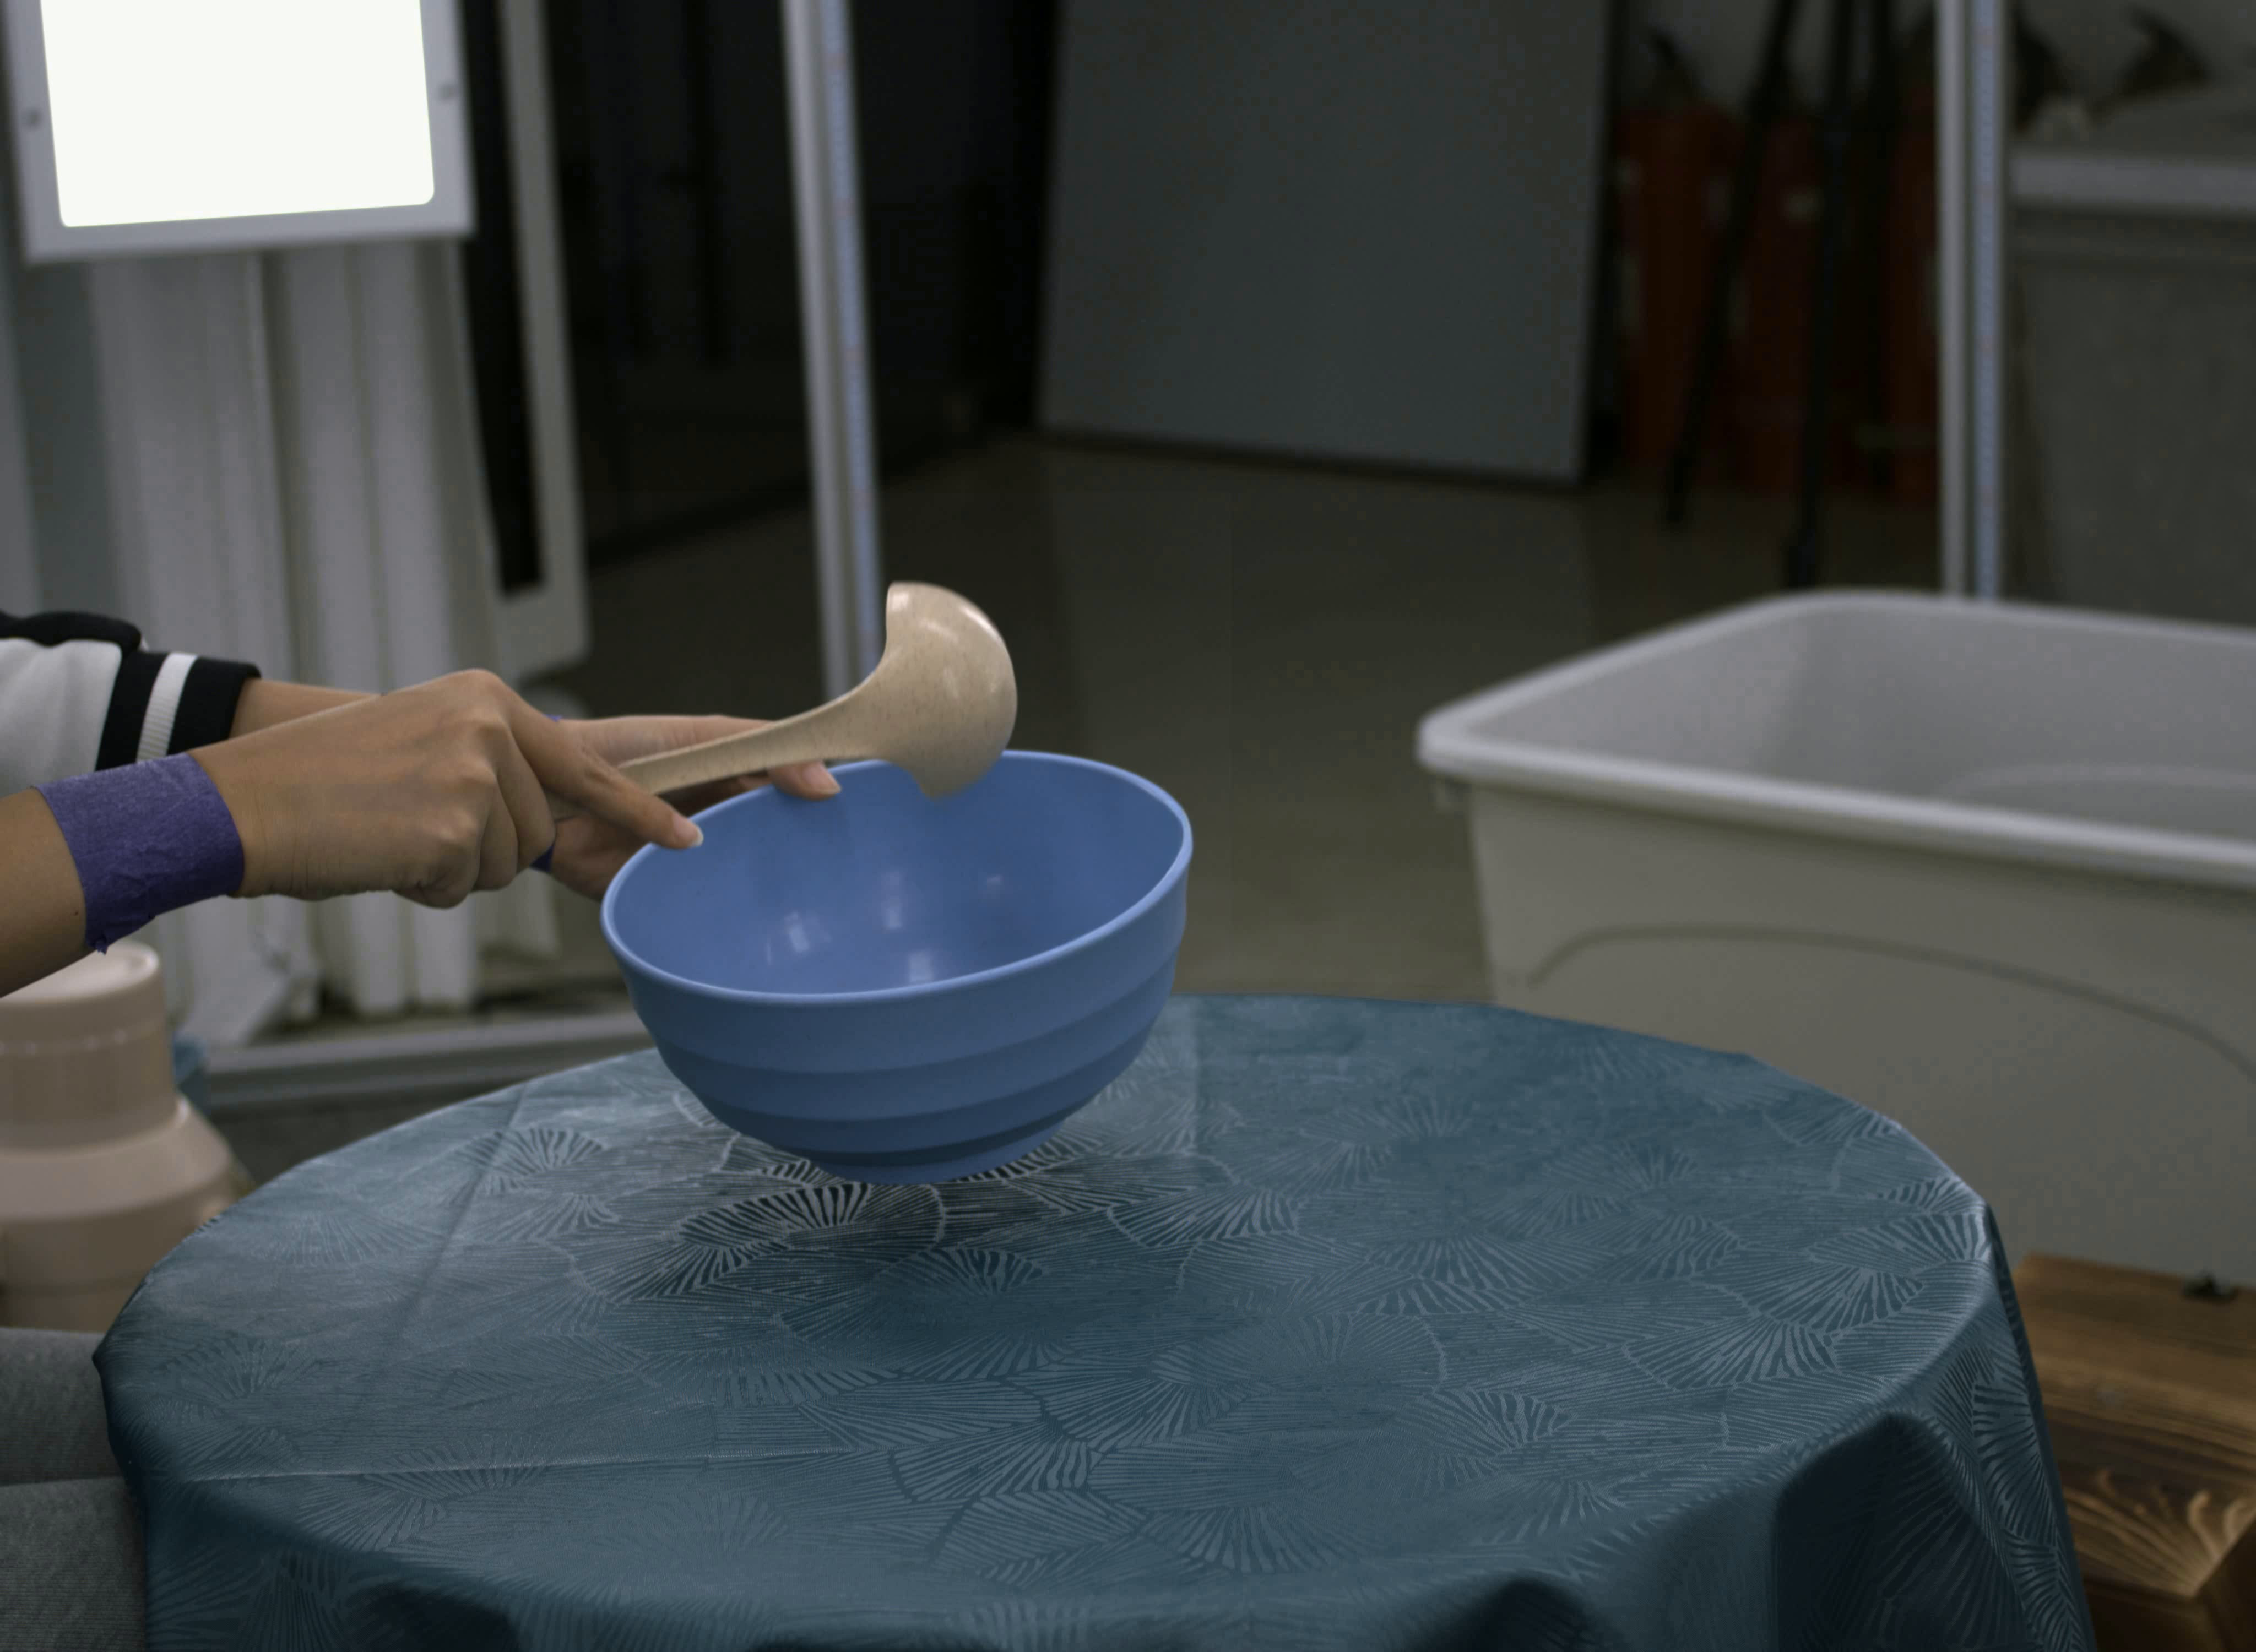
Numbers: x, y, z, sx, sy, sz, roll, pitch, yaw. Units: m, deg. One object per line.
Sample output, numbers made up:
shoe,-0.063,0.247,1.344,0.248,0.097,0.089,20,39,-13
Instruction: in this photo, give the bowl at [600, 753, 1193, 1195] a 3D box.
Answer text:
bowl,-0.070,0.058,1.773,0.194,0.096,0.197,-7,23,2

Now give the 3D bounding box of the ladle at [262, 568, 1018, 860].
ladle,-0.157,-0.026,1.714,0.249,0.073,0.073,-13,10,-17
